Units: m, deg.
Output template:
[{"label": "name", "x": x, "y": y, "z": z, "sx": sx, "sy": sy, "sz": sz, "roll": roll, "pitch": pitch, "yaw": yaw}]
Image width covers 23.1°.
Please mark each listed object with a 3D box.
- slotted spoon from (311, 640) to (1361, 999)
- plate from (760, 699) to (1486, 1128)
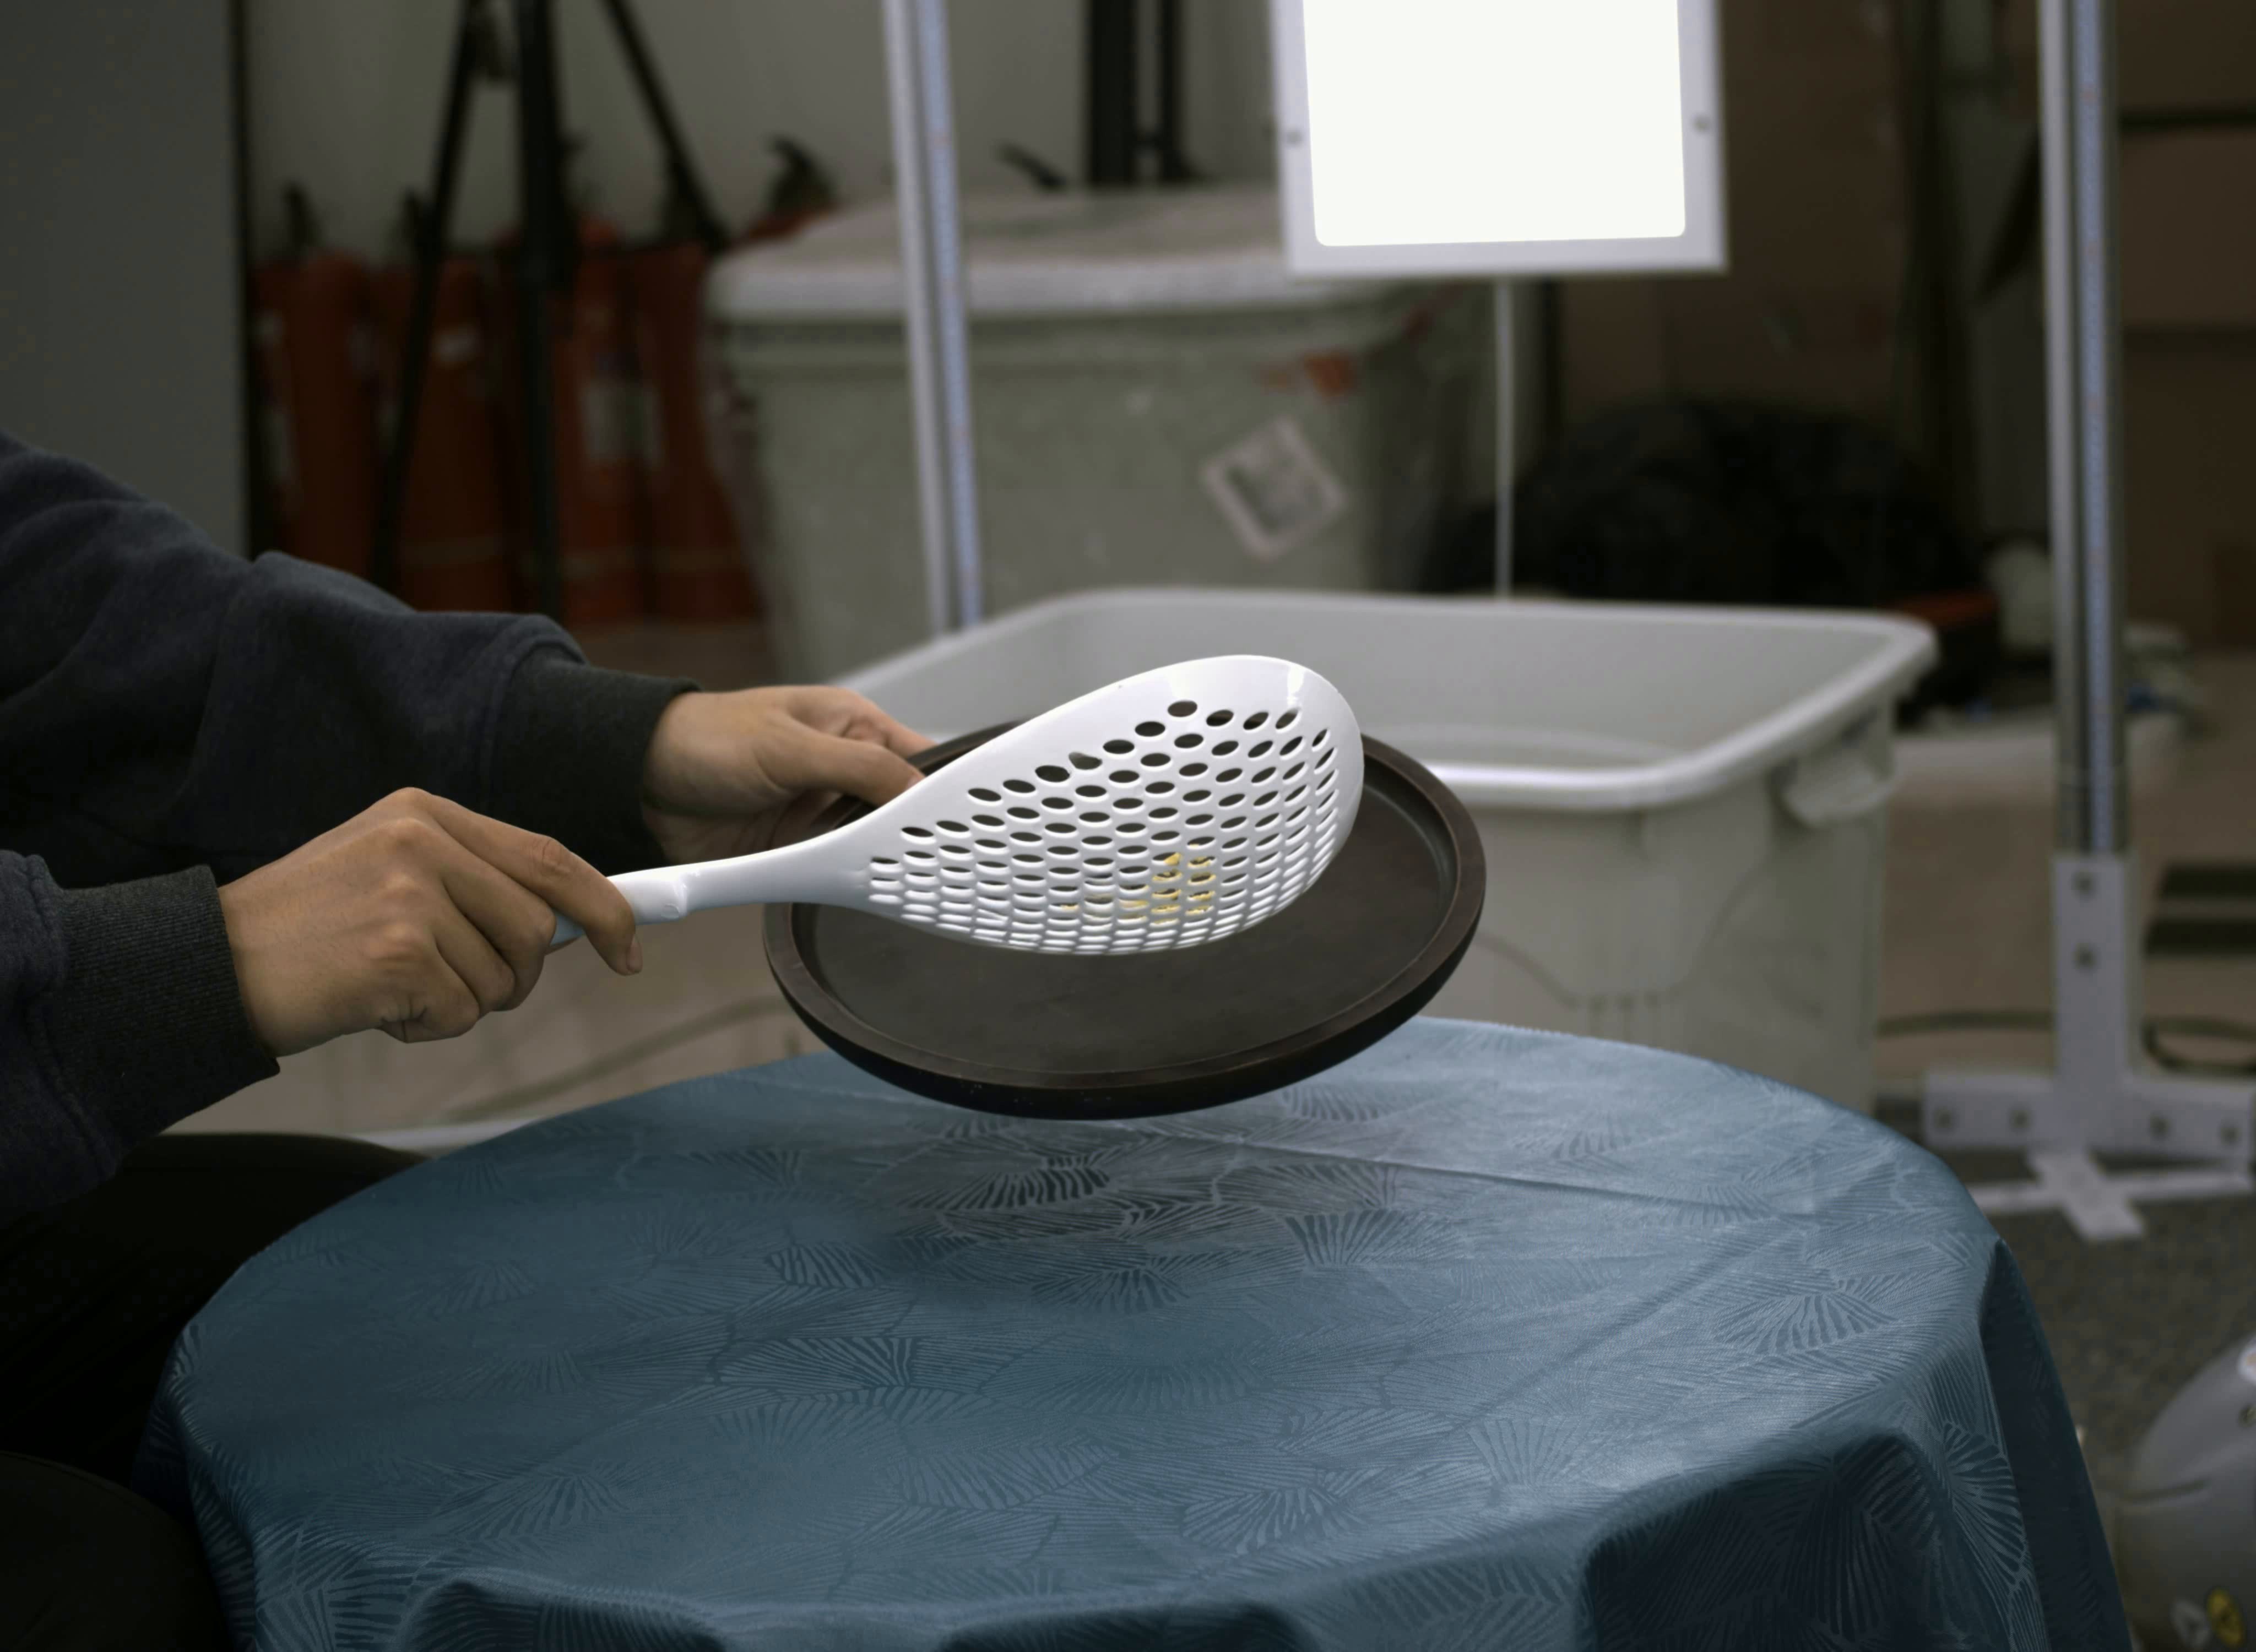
[{"label": "slotted spoon", "x": -0.089, "y": 0.017, "z": 1.757, "sx": 0.345, "sy": 0.138, "sz": 0.050, "roll": -7, "pitch": 51, "yaw": -8}, {"label": "plate", "x": -0.001, "y": 0.029, "z": 1.906, "sx": 0.255, "sy": 0.029, "sz": 0.254, "roll": -7, "pitch": 32, "yaw": 3}]
